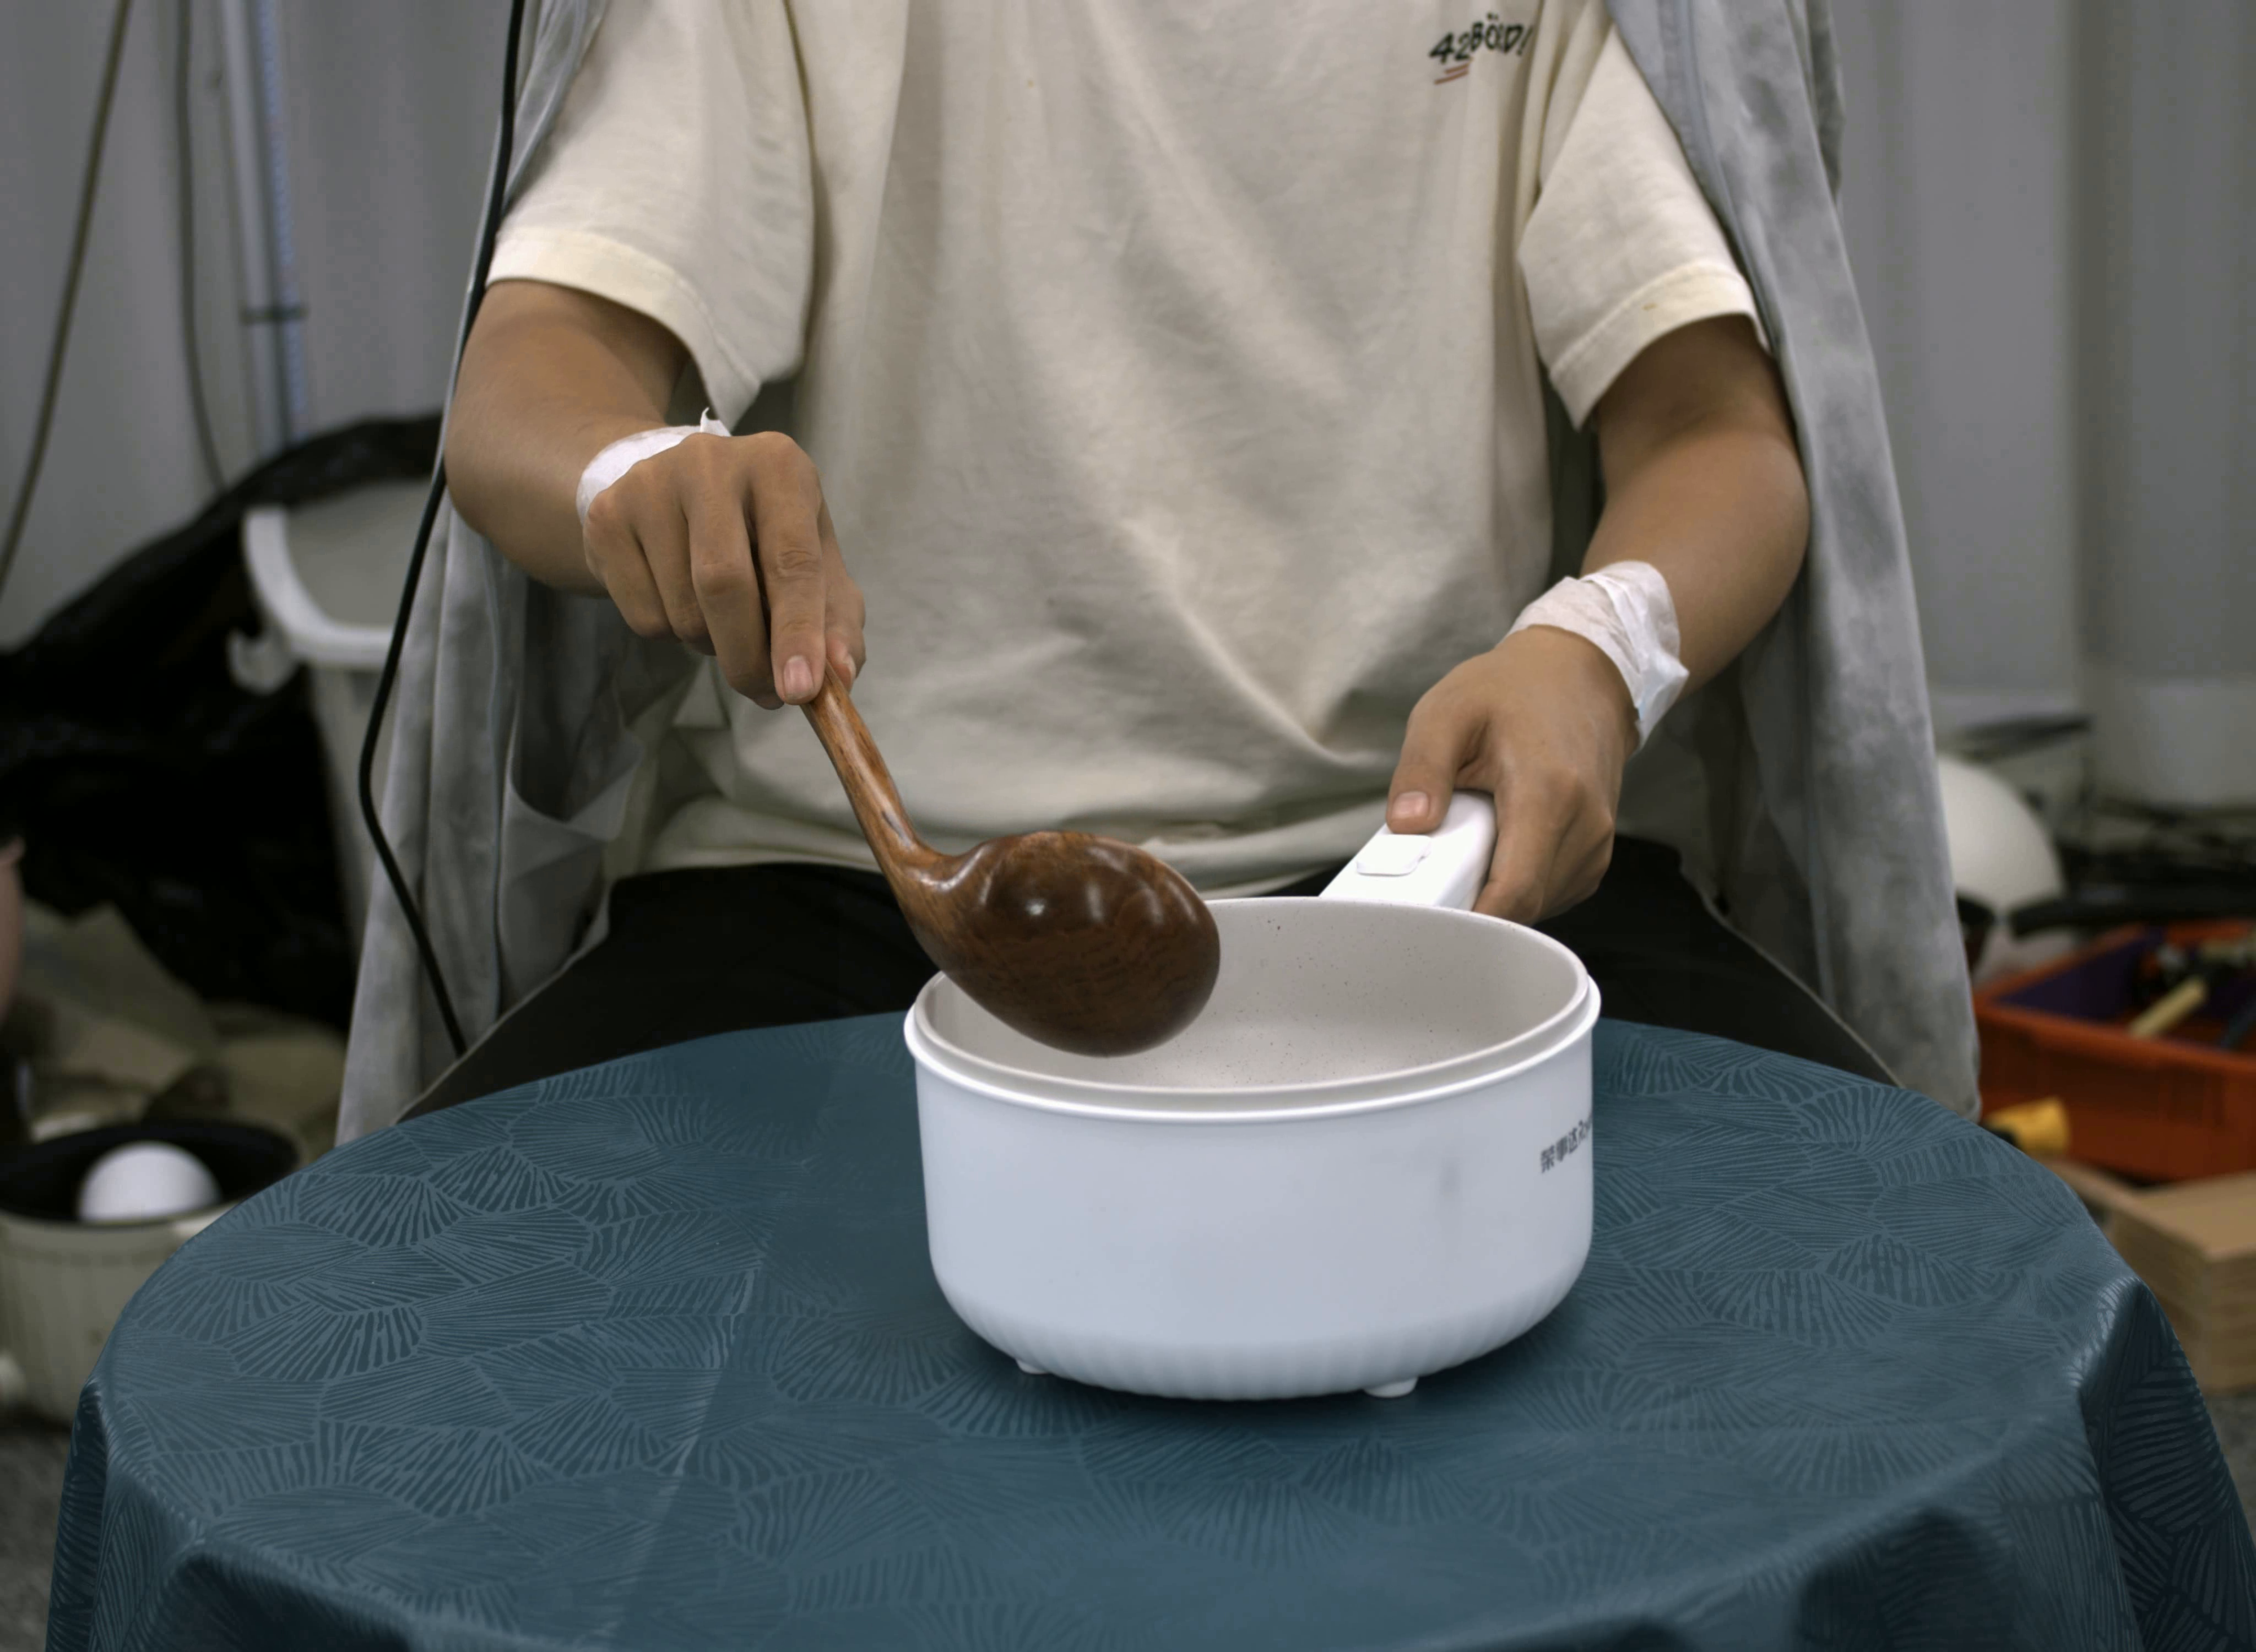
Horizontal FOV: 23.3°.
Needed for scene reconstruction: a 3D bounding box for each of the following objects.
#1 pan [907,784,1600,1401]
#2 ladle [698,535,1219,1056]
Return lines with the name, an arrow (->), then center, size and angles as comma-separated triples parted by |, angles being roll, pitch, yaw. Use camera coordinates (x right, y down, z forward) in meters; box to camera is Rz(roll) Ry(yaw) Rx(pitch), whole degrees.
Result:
pan -> 0.062, 0.076, 1.660 | 0.201, 0.102, 0.356 | 2, 15, 18
ladle -> -0.054, -0.025, 1.642 | 0.076, 0.081, 0.278 | -18, 38, -13
